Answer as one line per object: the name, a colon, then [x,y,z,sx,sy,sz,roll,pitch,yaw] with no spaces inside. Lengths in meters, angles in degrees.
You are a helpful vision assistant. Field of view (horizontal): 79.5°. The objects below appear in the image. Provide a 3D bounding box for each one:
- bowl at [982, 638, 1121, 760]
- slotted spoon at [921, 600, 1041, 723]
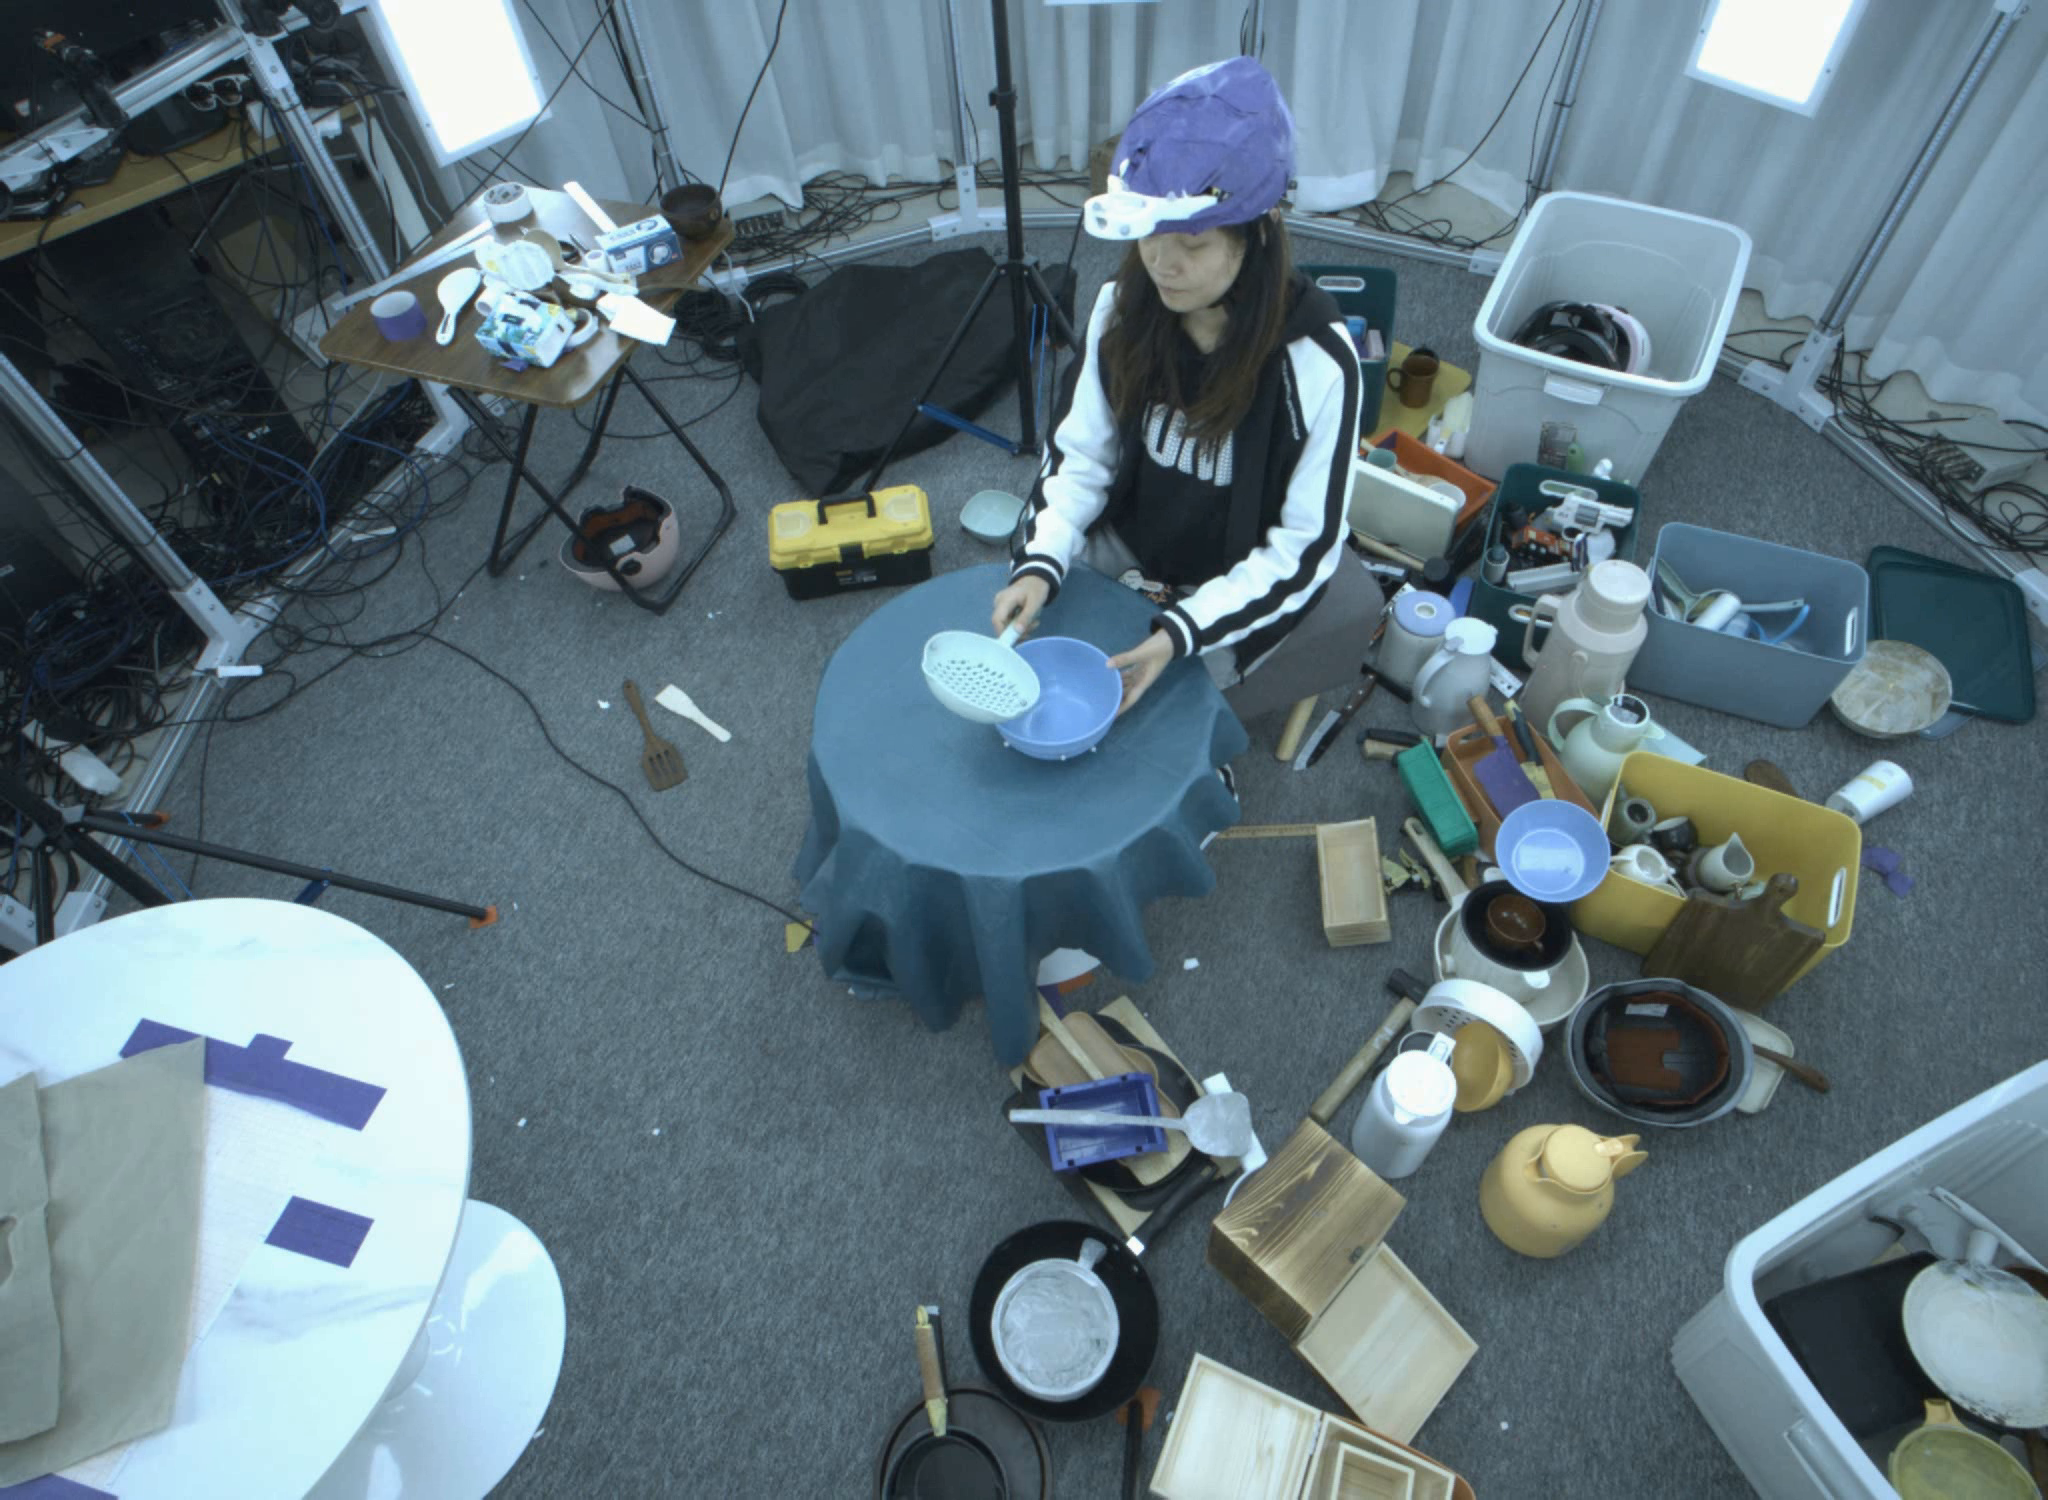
bowl: [0.042,-0.059,1.770,0.196,0.096,0.194,-1,54,2]
slotted spoon: [-0.033,-0.146,1.755,0.169,0.075,0.359,30,42,0]
